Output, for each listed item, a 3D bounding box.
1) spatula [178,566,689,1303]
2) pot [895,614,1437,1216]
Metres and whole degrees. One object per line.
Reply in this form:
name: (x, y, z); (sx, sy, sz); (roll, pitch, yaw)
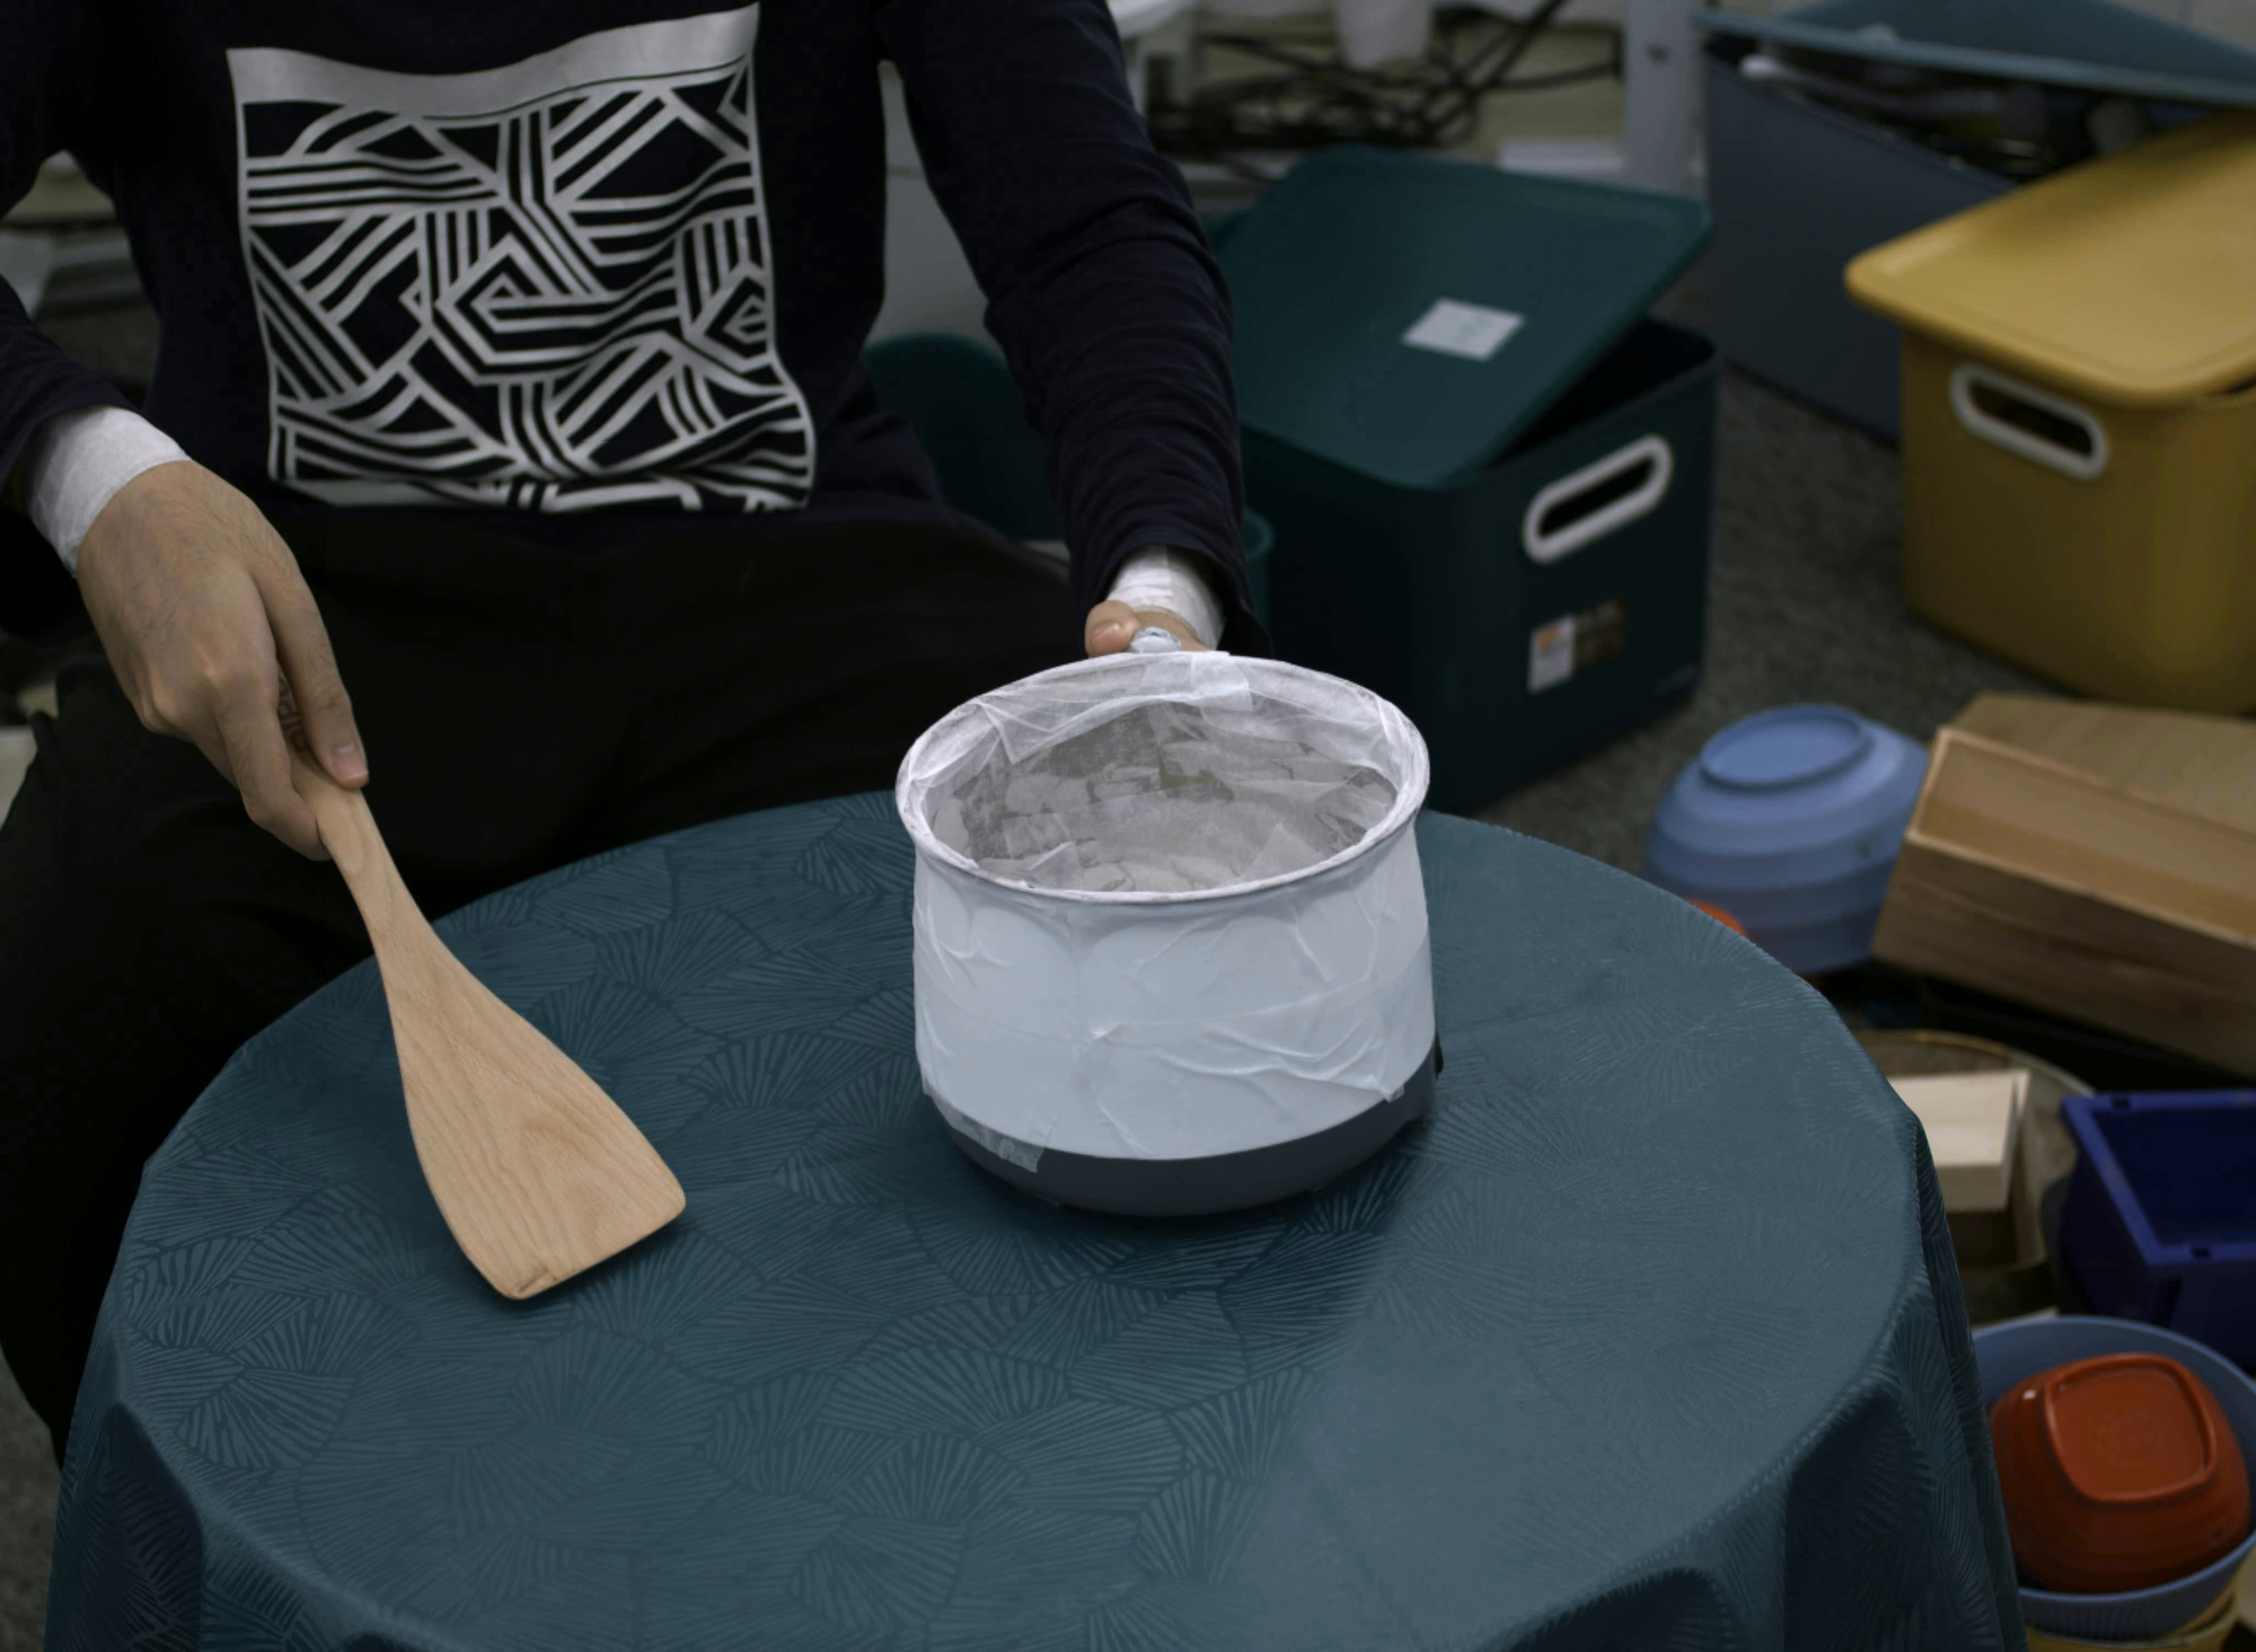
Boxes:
spatula: (-0.247, 0.029, 1.901); (0.080, 0.016, 0.331); (-16, 56, -28)
pot: (0.012, 0.022, 1.898); (0.178, 0.135, 0.237); (-3, 28, -3)
